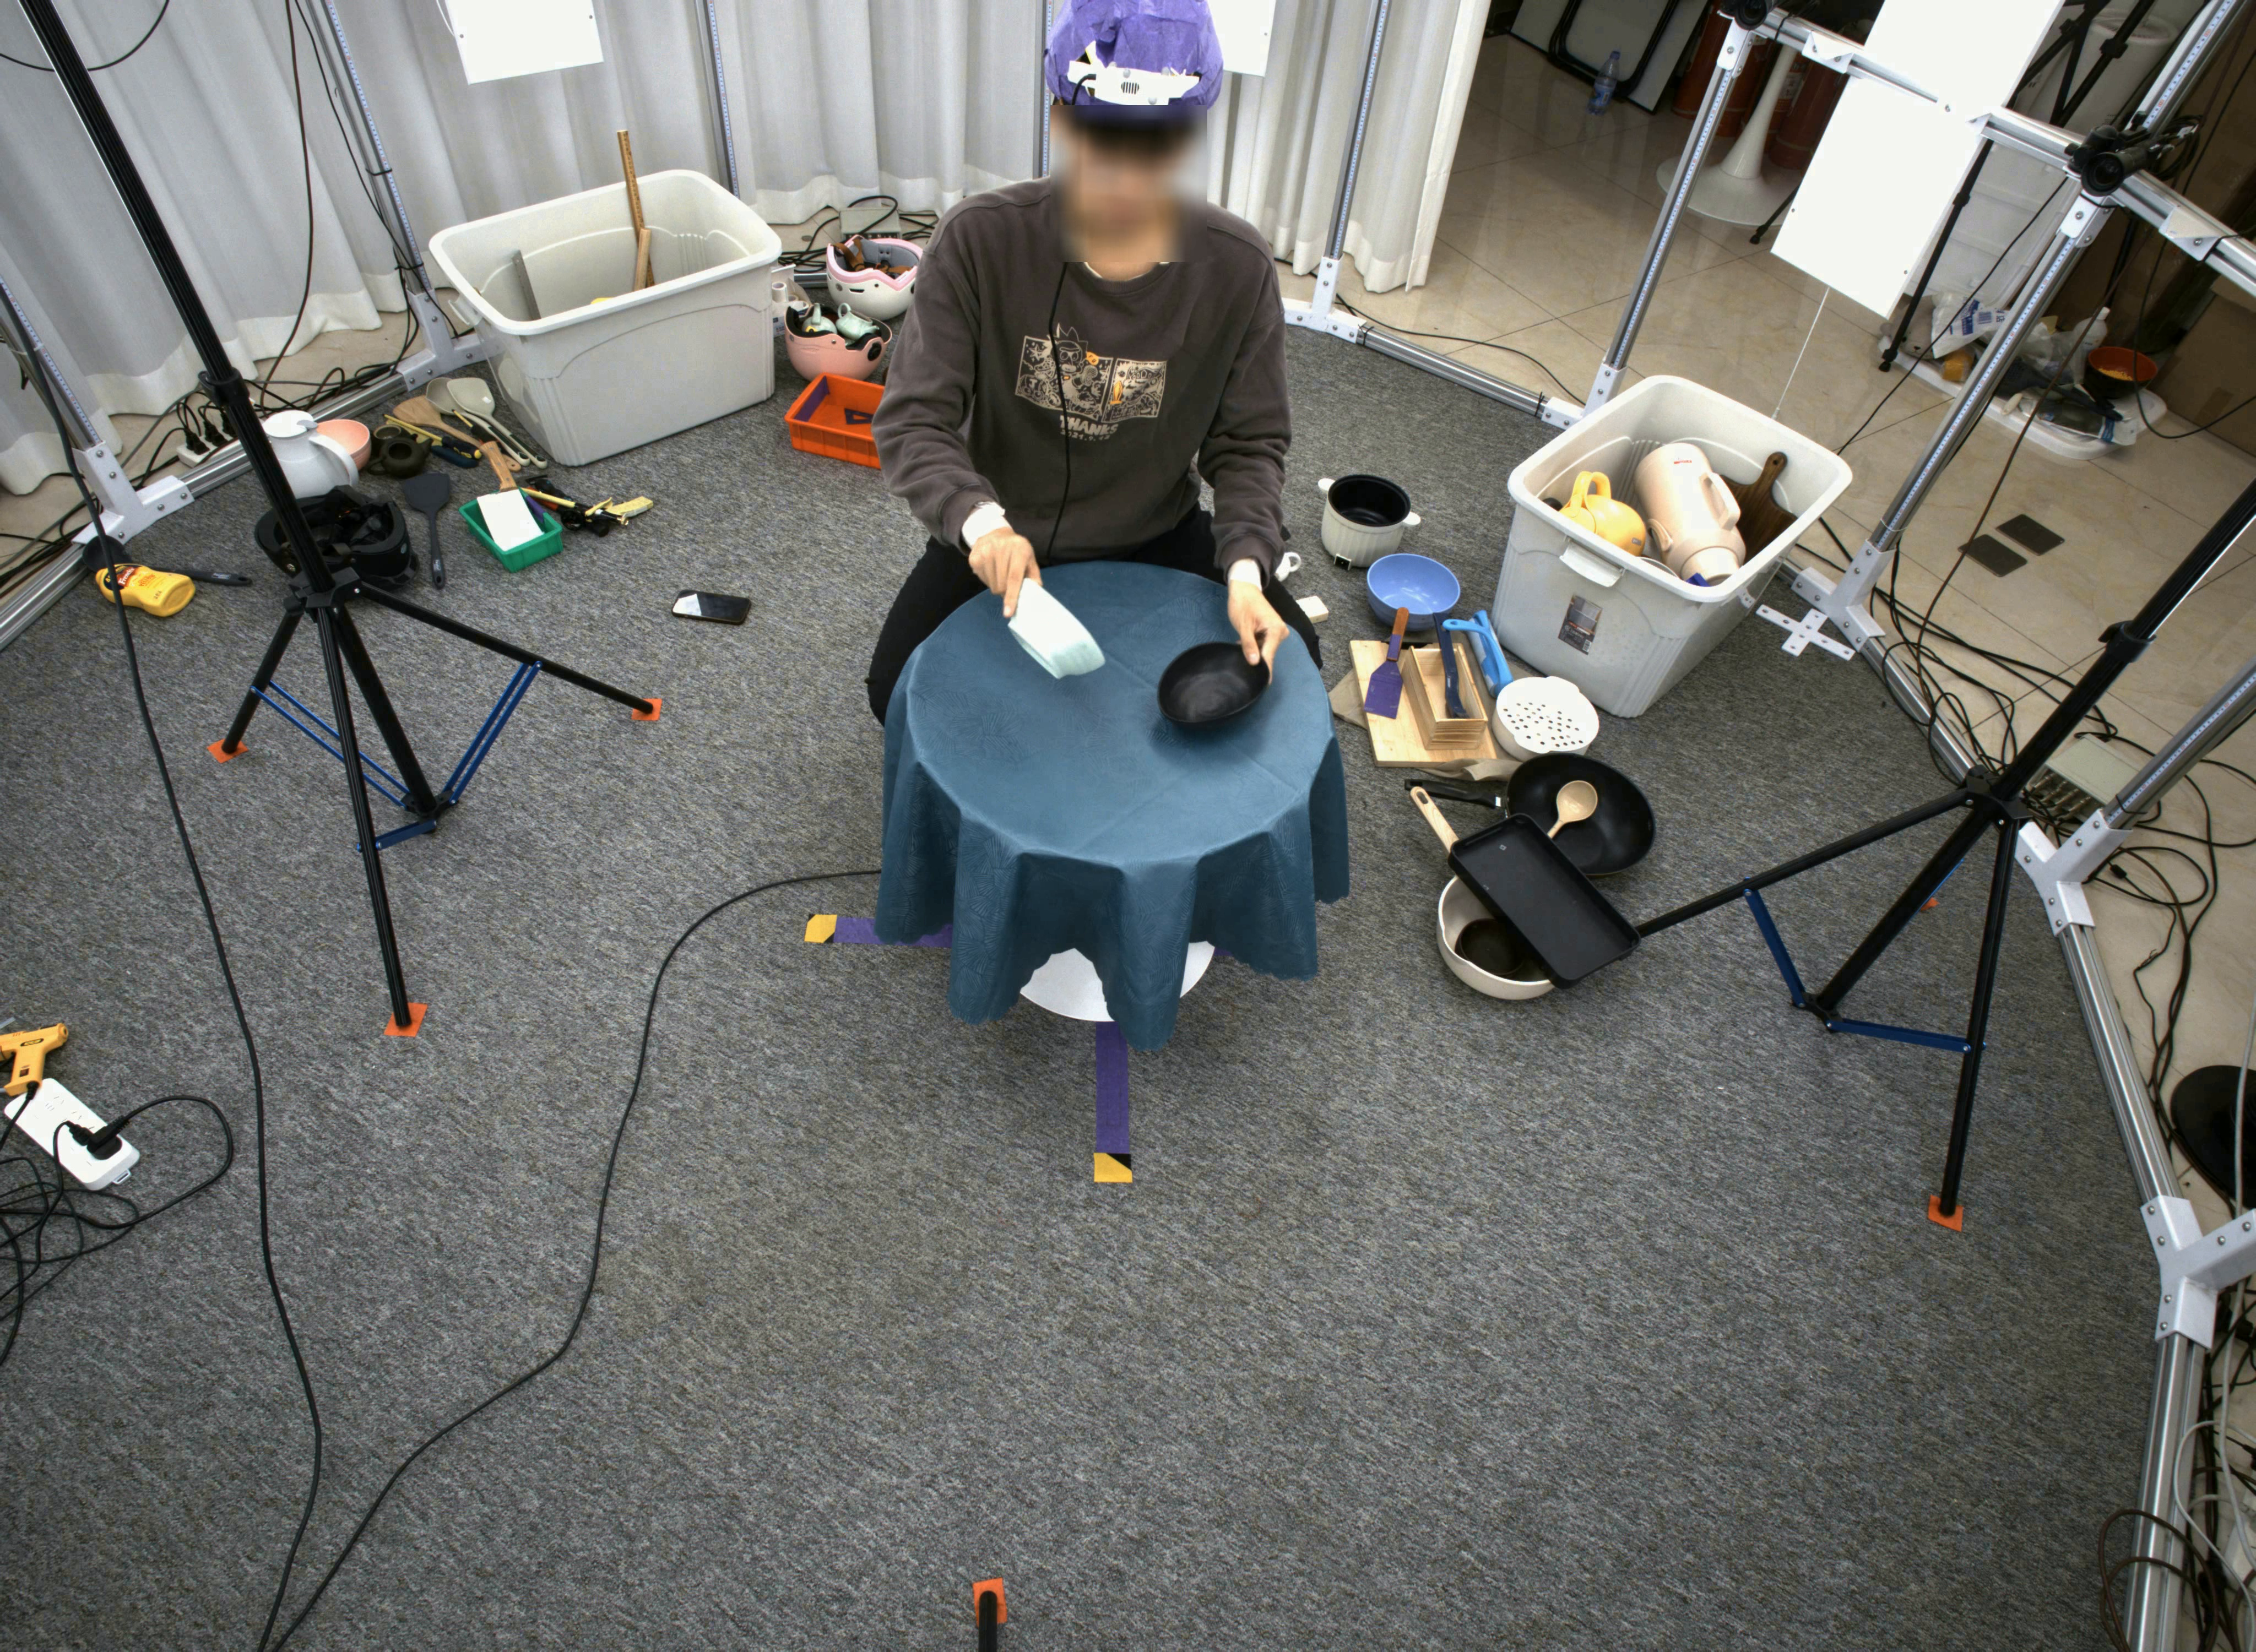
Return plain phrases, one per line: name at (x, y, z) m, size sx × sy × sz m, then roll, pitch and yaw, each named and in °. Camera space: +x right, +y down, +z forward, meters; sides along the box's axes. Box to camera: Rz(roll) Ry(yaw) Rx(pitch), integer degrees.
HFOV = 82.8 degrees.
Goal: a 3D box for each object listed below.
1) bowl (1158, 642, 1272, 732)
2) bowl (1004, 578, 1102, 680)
bowl at (0.121, -0.181, 1.786) m, size 0.171 × 0.065 × 0.140 m, roll -34°, pitch 56°, yaw -22°
bowl at (-0.103, -0.239, 1.624) m, size 0.058 × 0.148 × 0.154 m, roll -44°, pitch 61°, yaw -1°
